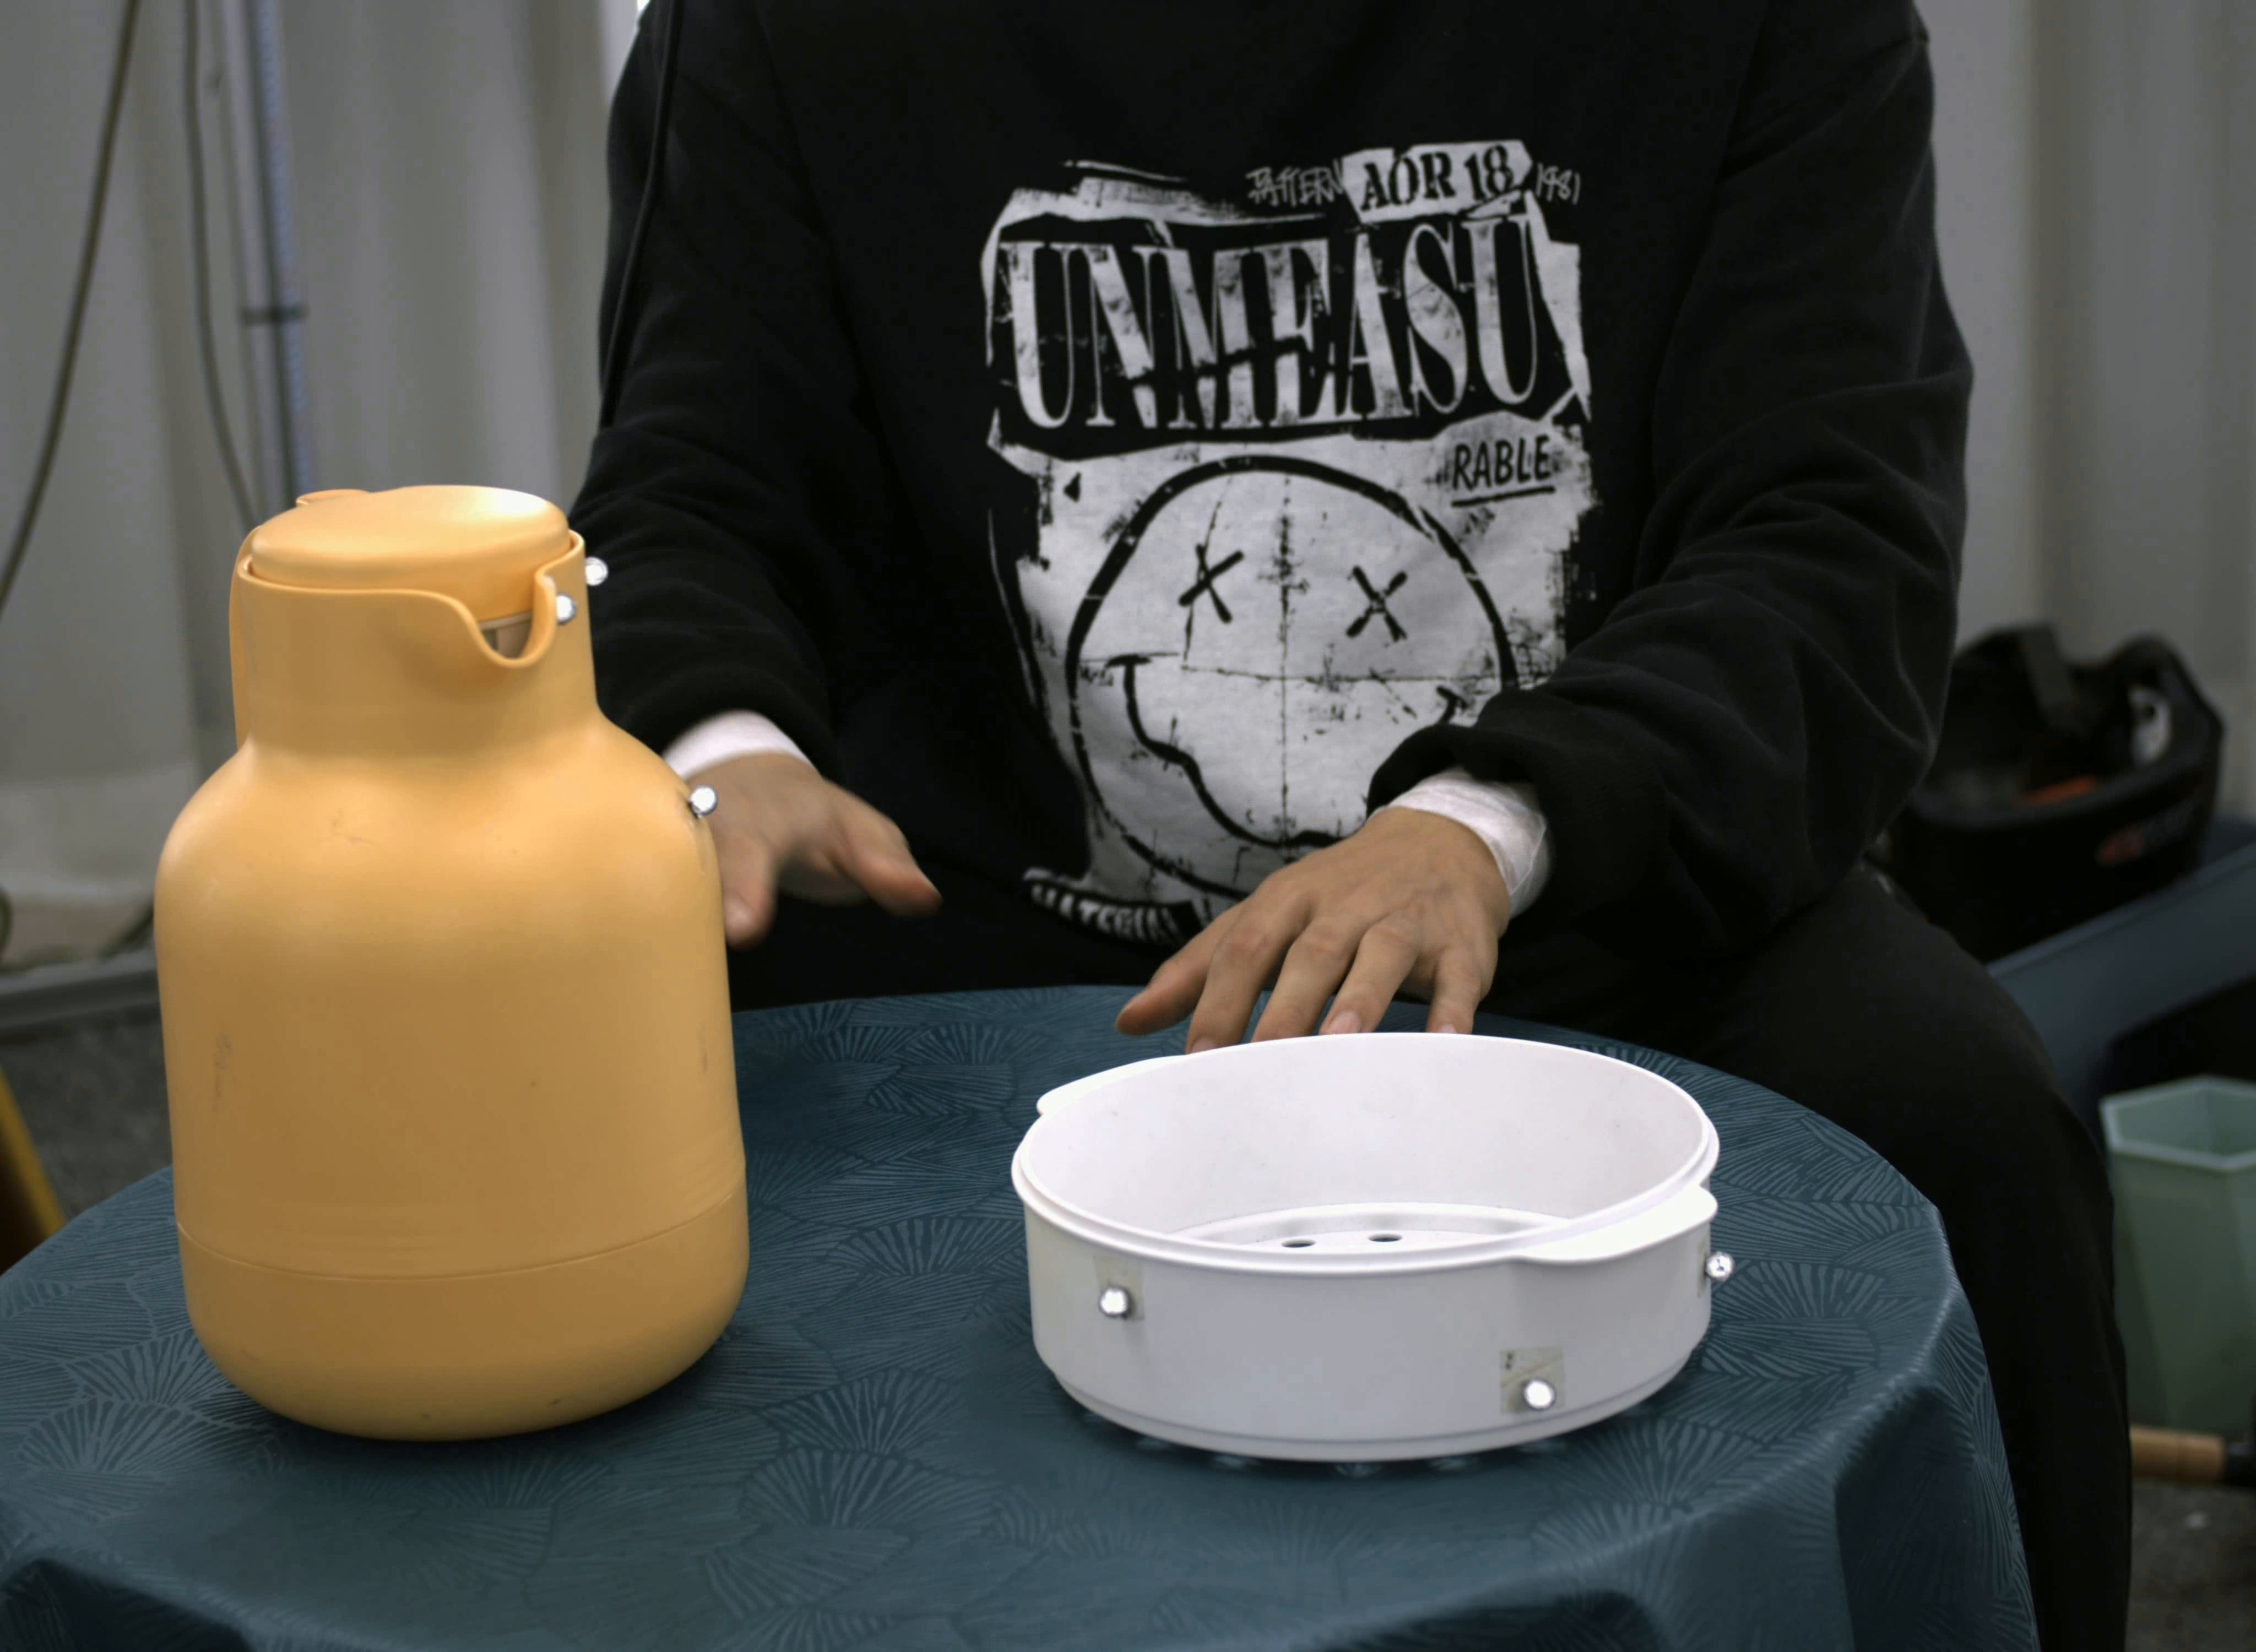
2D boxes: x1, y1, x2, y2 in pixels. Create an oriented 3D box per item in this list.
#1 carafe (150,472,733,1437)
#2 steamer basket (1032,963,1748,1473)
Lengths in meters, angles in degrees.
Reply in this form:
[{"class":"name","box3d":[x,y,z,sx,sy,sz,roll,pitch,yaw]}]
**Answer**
[{"class":"carafe","box3d":[-0.203,0.028,1.572,0.162,0.259,0.204,-7,16,-26]},{"class":"steamer basket","box3d":[0.073,0.110,1.545,0.201,0.069,0.232,-20,32,-39]}]
